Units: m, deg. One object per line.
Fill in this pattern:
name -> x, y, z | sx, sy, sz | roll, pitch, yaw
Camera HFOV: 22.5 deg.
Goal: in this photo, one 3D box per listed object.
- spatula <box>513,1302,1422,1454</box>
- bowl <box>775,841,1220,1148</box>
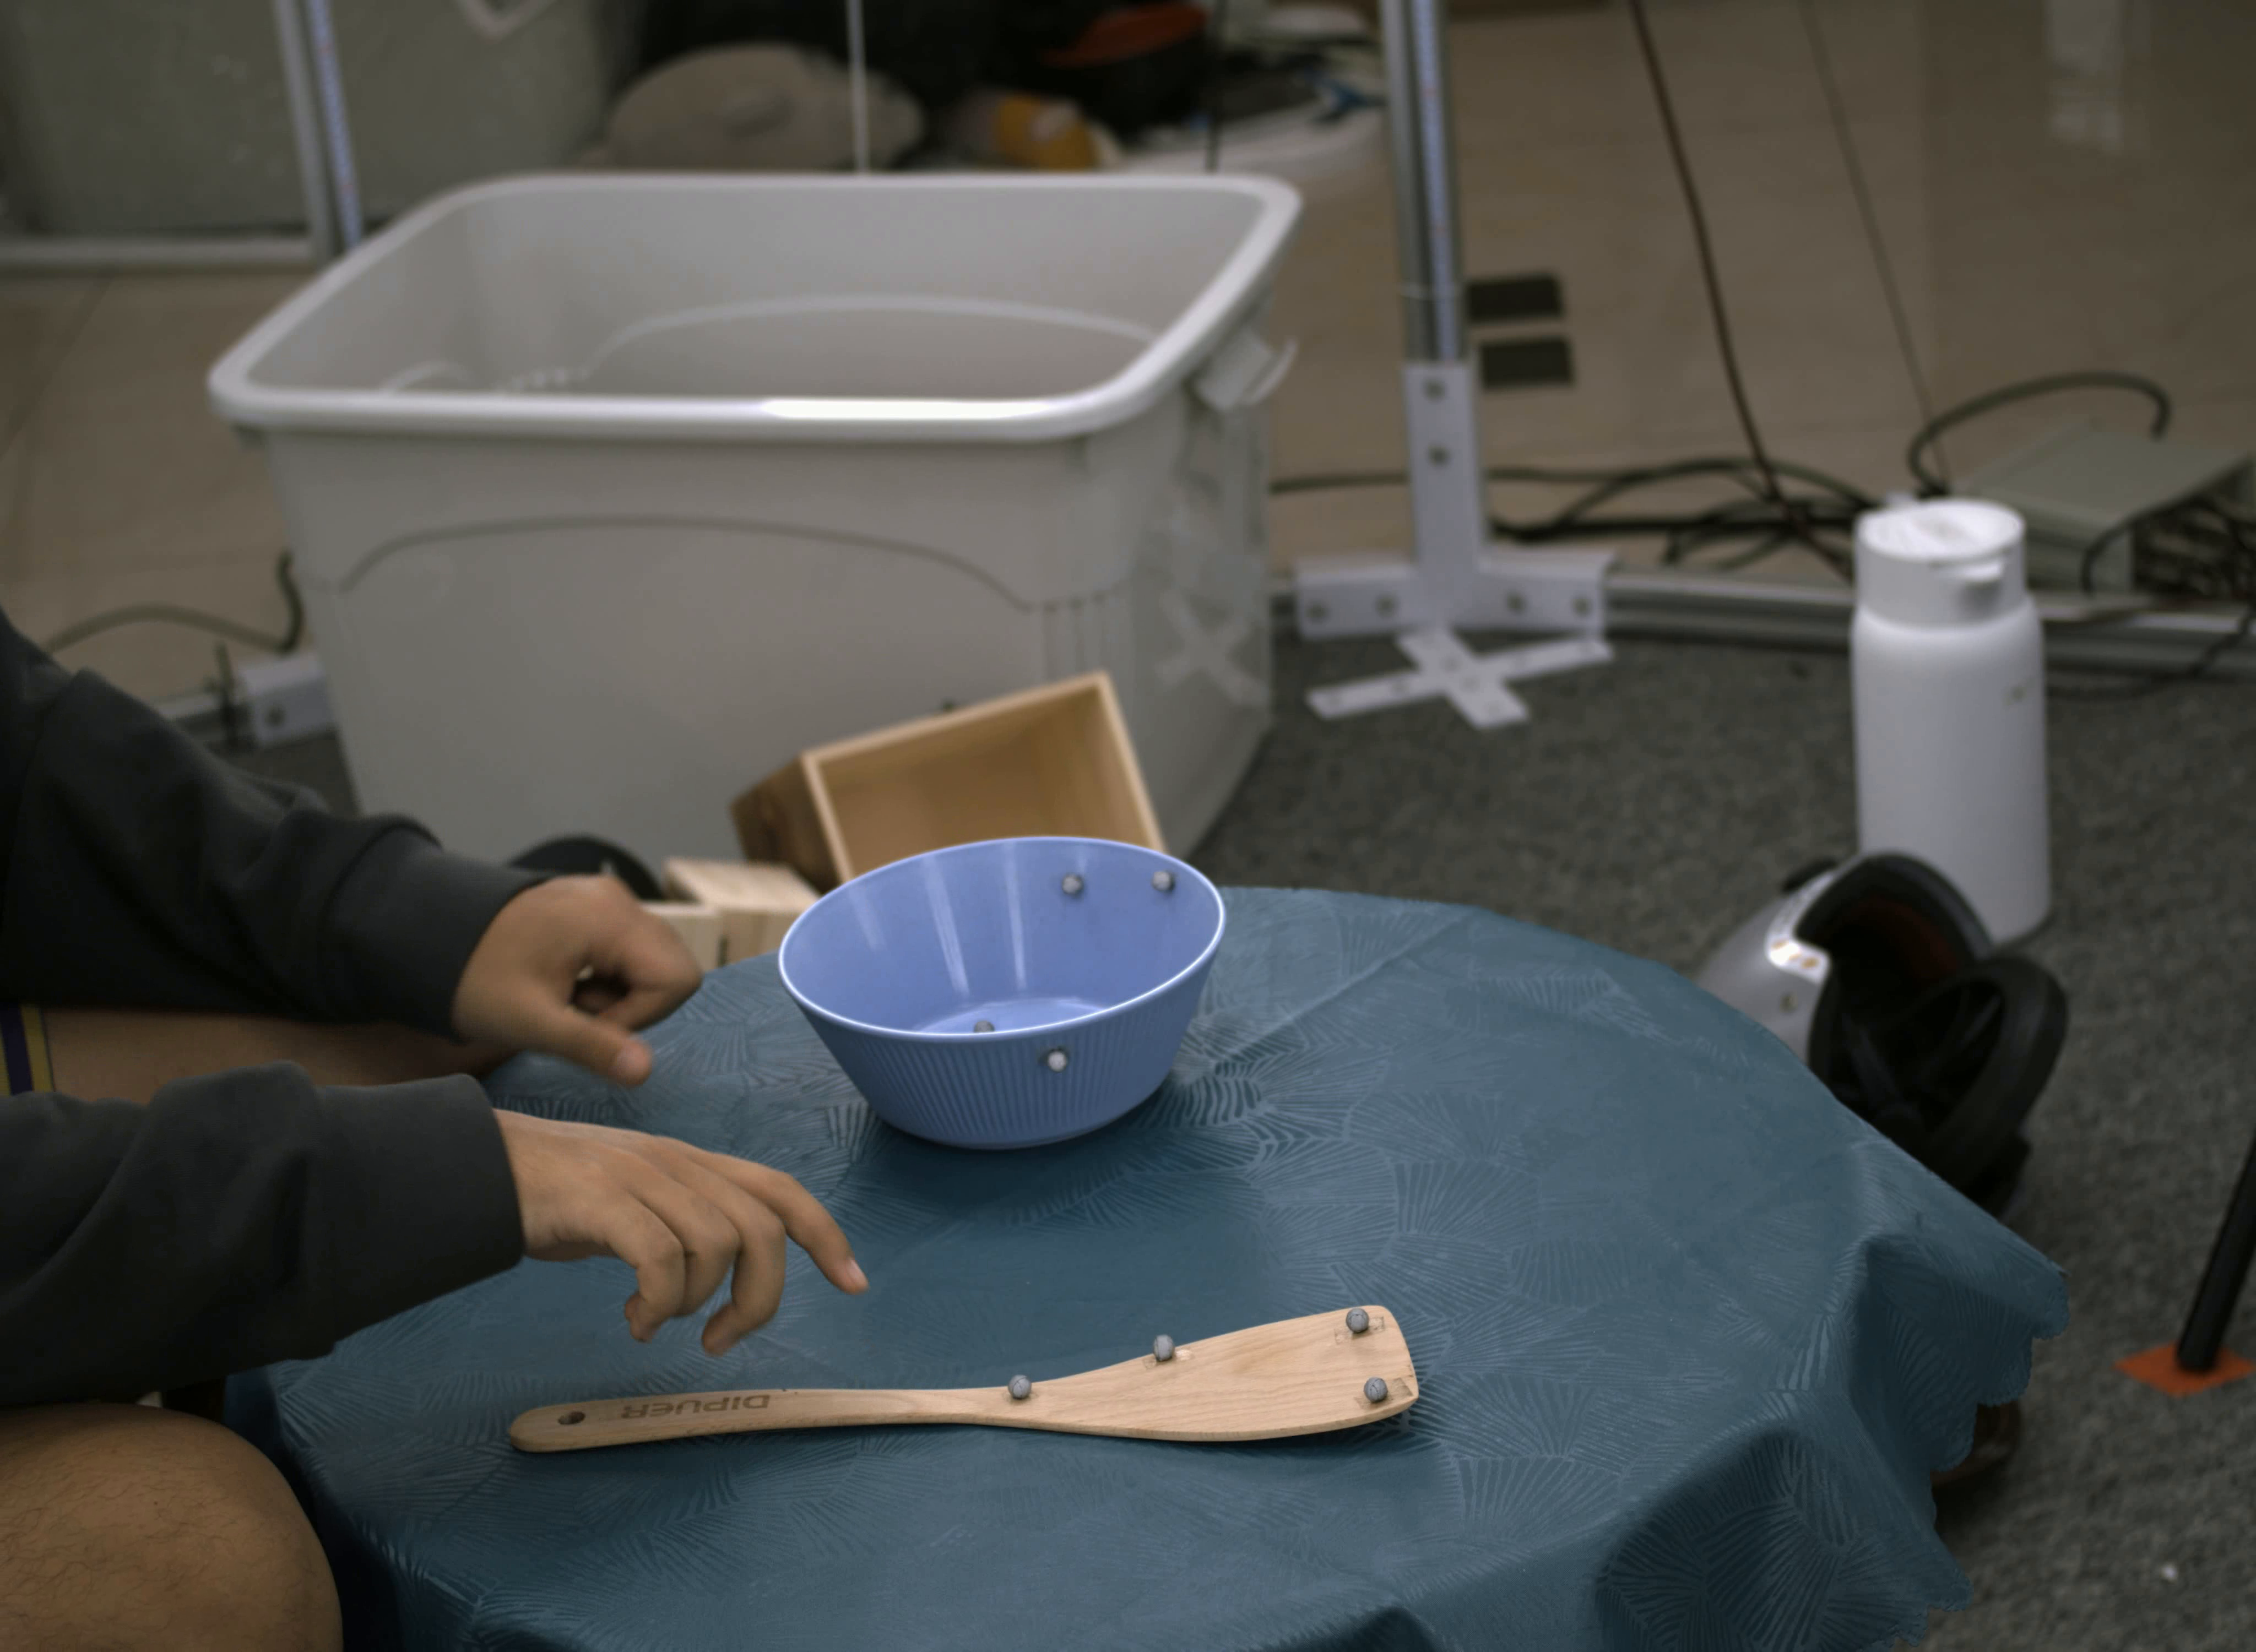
spatula -> -0.058, 0.201, 2.010 | 0.327, 0.017, 0.079 | -4, 26, 6
bowl -> -0.048, 0.071, 2.220 | 0.176, 0.071, 0.173 | -5, 25, 3
